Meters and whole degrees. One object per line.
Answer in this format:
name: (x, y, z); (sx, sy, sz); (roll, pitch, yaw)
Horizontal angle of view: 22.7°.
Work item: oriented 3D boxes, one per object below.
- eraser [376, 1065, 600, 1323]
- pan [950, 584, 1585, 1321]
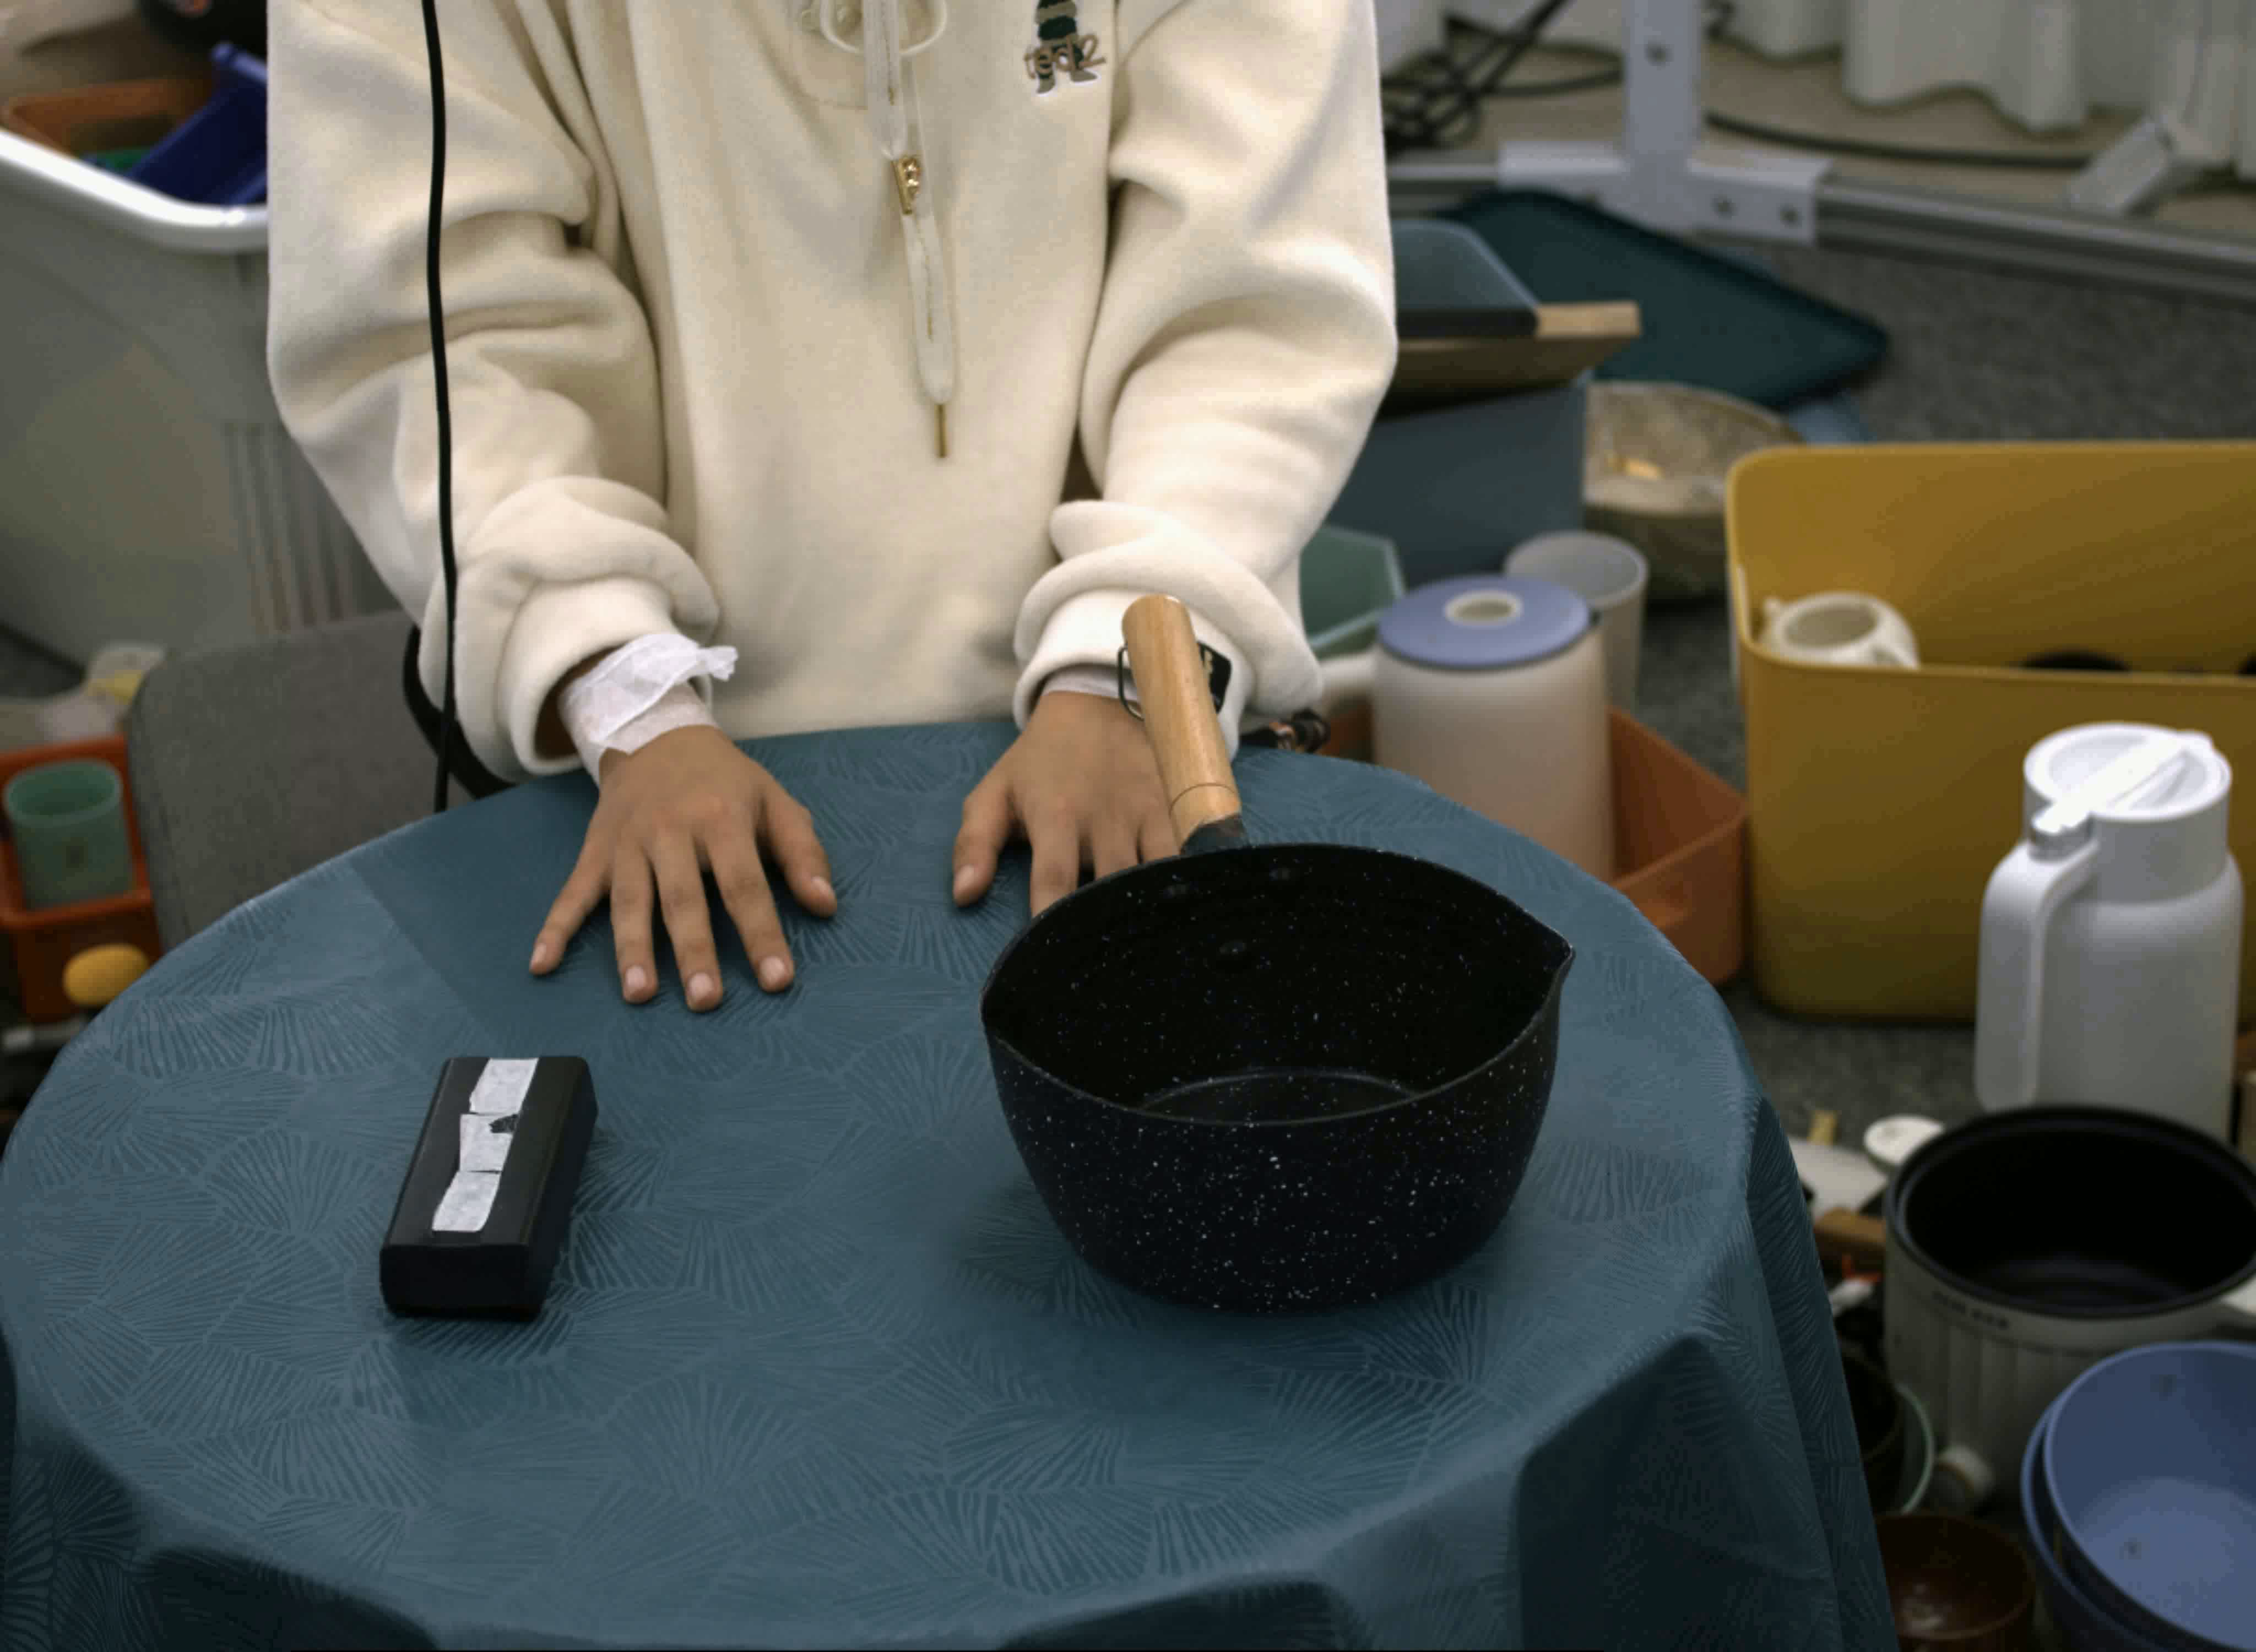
eraser: (-0.210, 0.121, 1.854); (0.053, 0.030, 0.127); (0, 26, 5)
pan: (0.035, 0.039, 1.901); (0.207, 0.107, 0.347); (-8, 29, -7)
